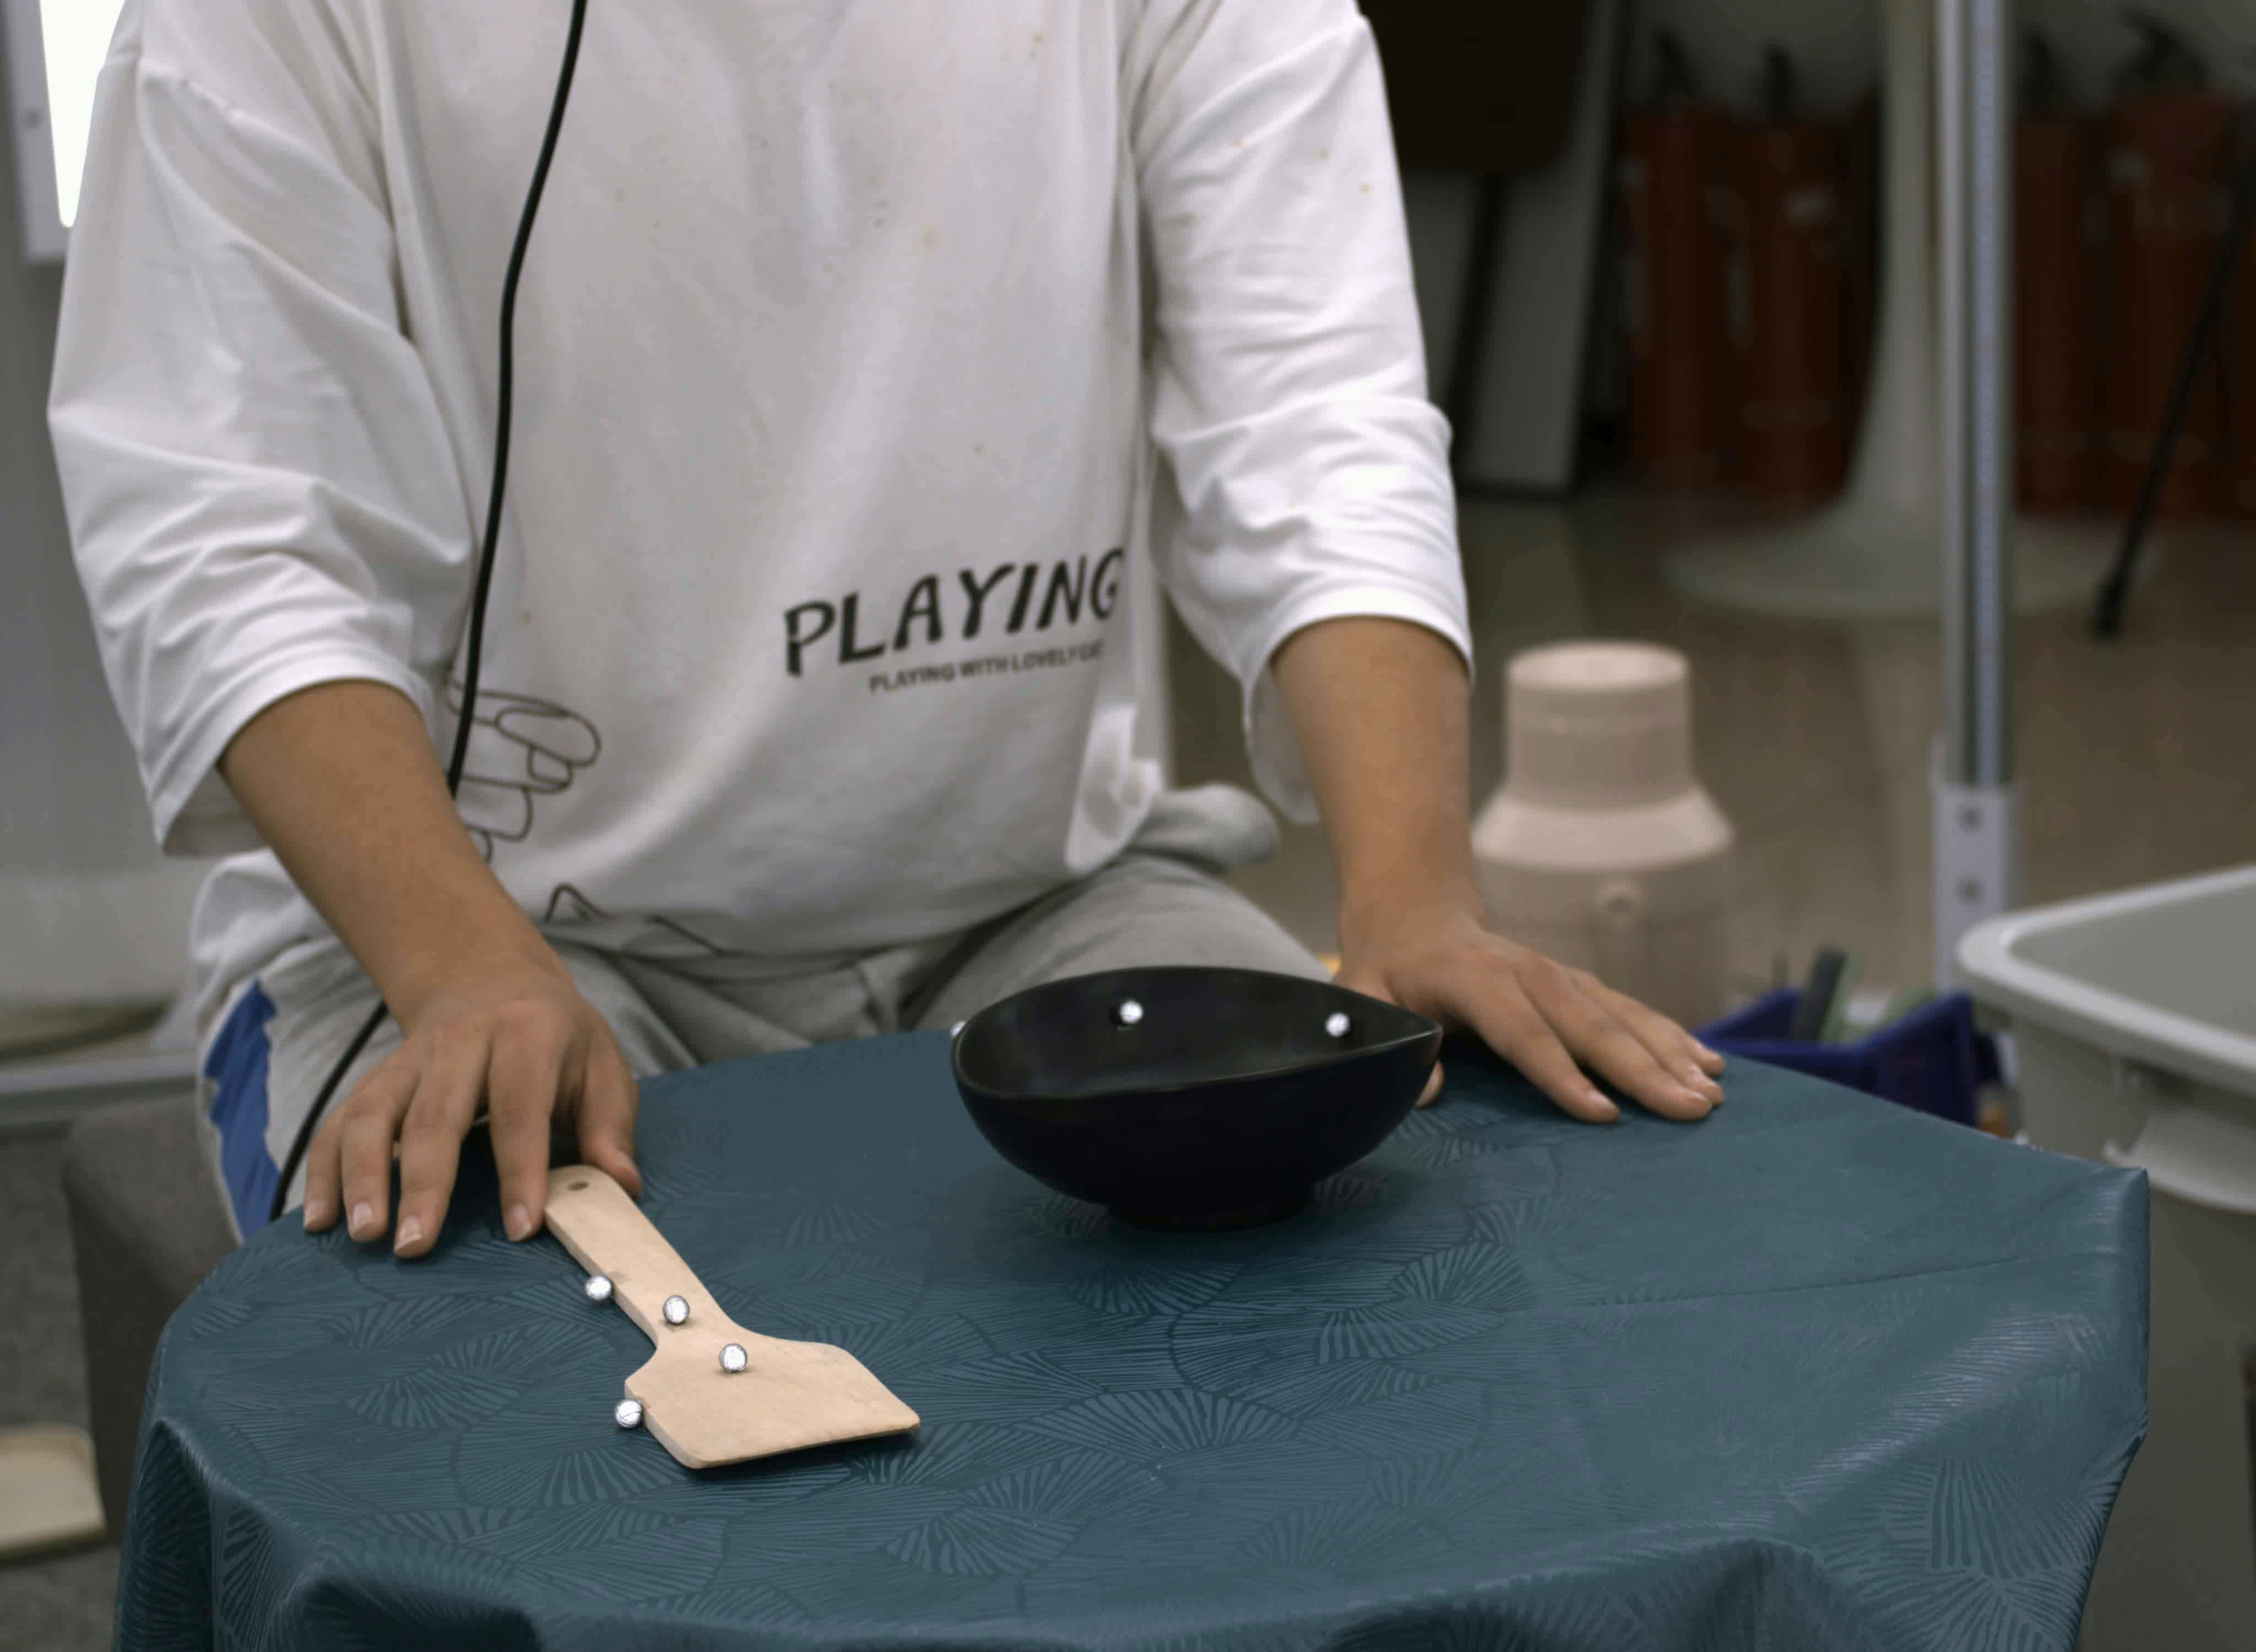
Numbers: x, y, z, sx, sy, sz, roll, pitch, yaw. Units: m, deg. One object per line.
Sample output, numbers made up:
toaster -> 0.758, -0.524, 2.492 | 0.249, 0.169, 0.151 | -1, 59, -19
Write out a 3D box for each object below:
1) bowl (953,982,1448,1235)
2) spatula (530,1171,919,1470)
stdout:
bowl -> 0.024, 0.093, 1.751 | 0.166, 0.067, 0.139 | -9, 13, -29
spatula -> -0.140, 0.150, 1.675 | 0.071, 0.011, 0.295 | -9, 15, -18
